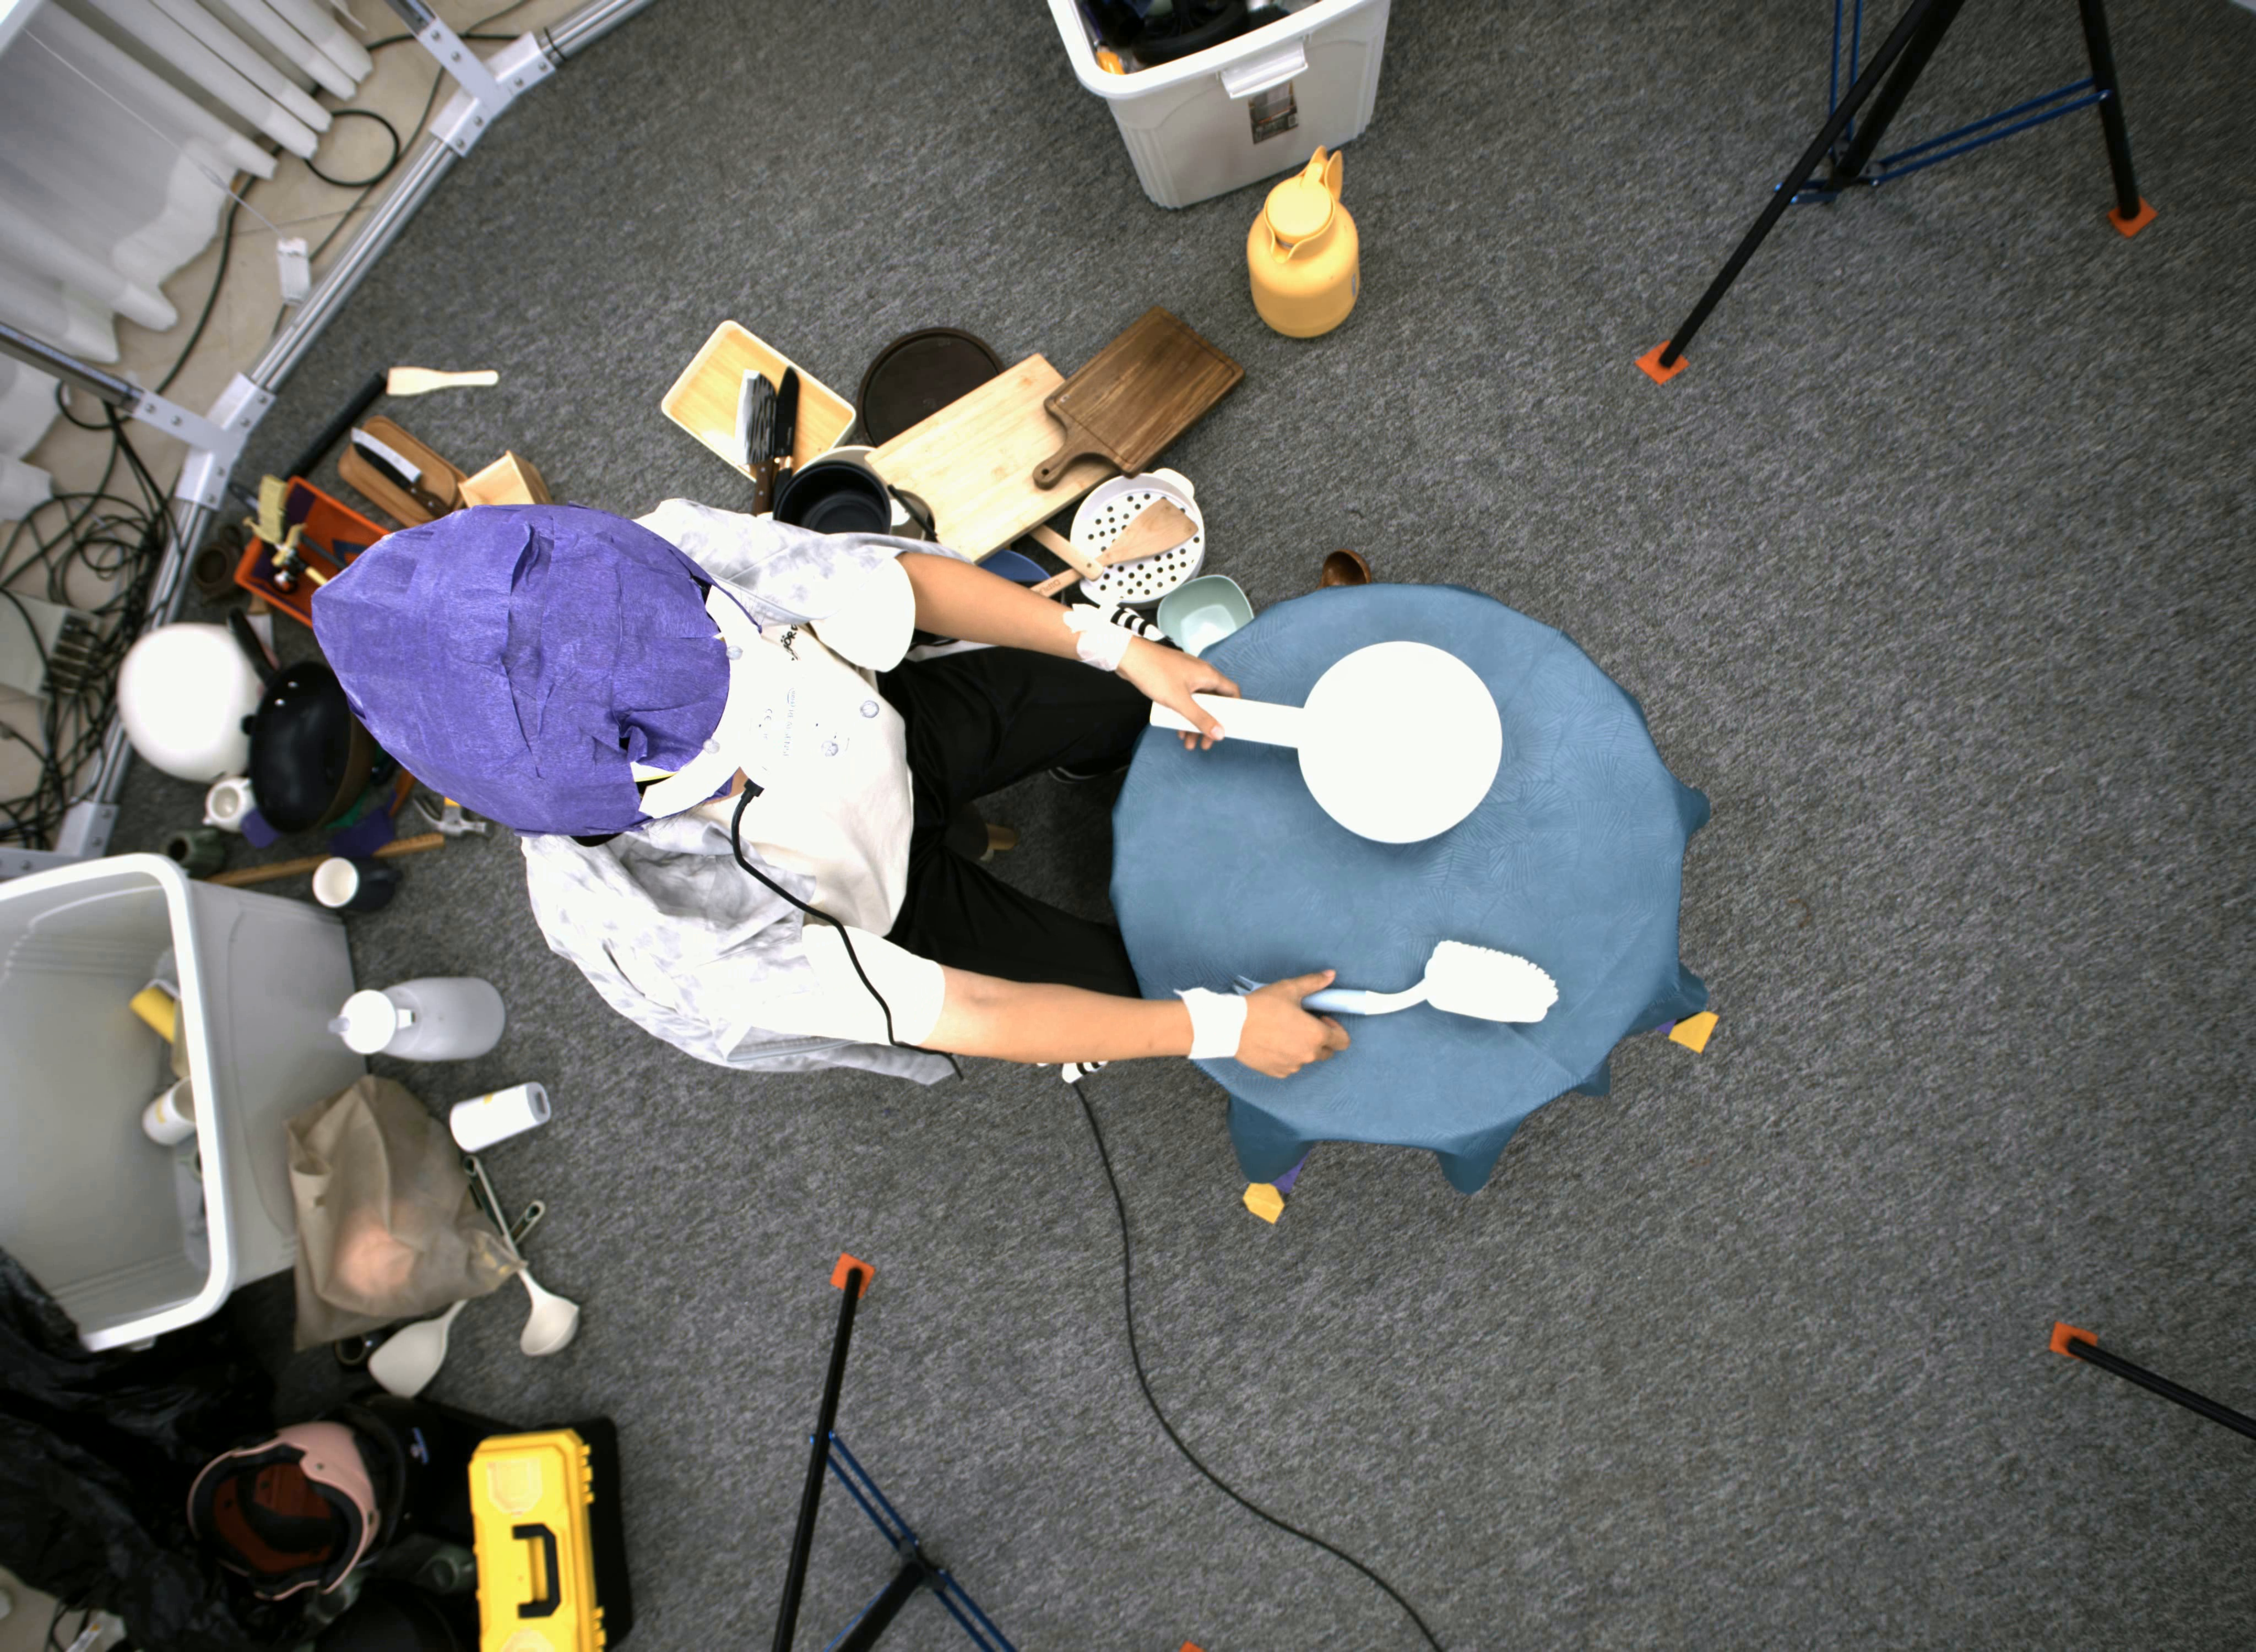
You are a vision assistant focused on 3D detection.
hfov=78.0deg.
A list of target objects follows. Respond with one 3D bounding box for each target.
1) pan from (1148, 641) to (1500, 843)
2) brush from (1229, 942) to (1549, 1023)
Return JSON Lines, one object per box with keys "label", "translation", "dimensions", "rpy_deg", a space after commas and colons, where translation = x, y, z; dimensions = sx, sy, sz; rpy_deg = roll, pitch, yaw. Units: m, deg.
{"label": "pan", "translation": [0.202, -0.095, 1.430], "dimensions": [0.355, 0.102, 0.201], "rpy_deg": [9, 88, 12]}
{"label": "brush", "translation": [0.264, 0.156, 1.413], "dimensions": [0.326, 0.083, 0.084], "rpy_deg": [3, 92, 10]}
